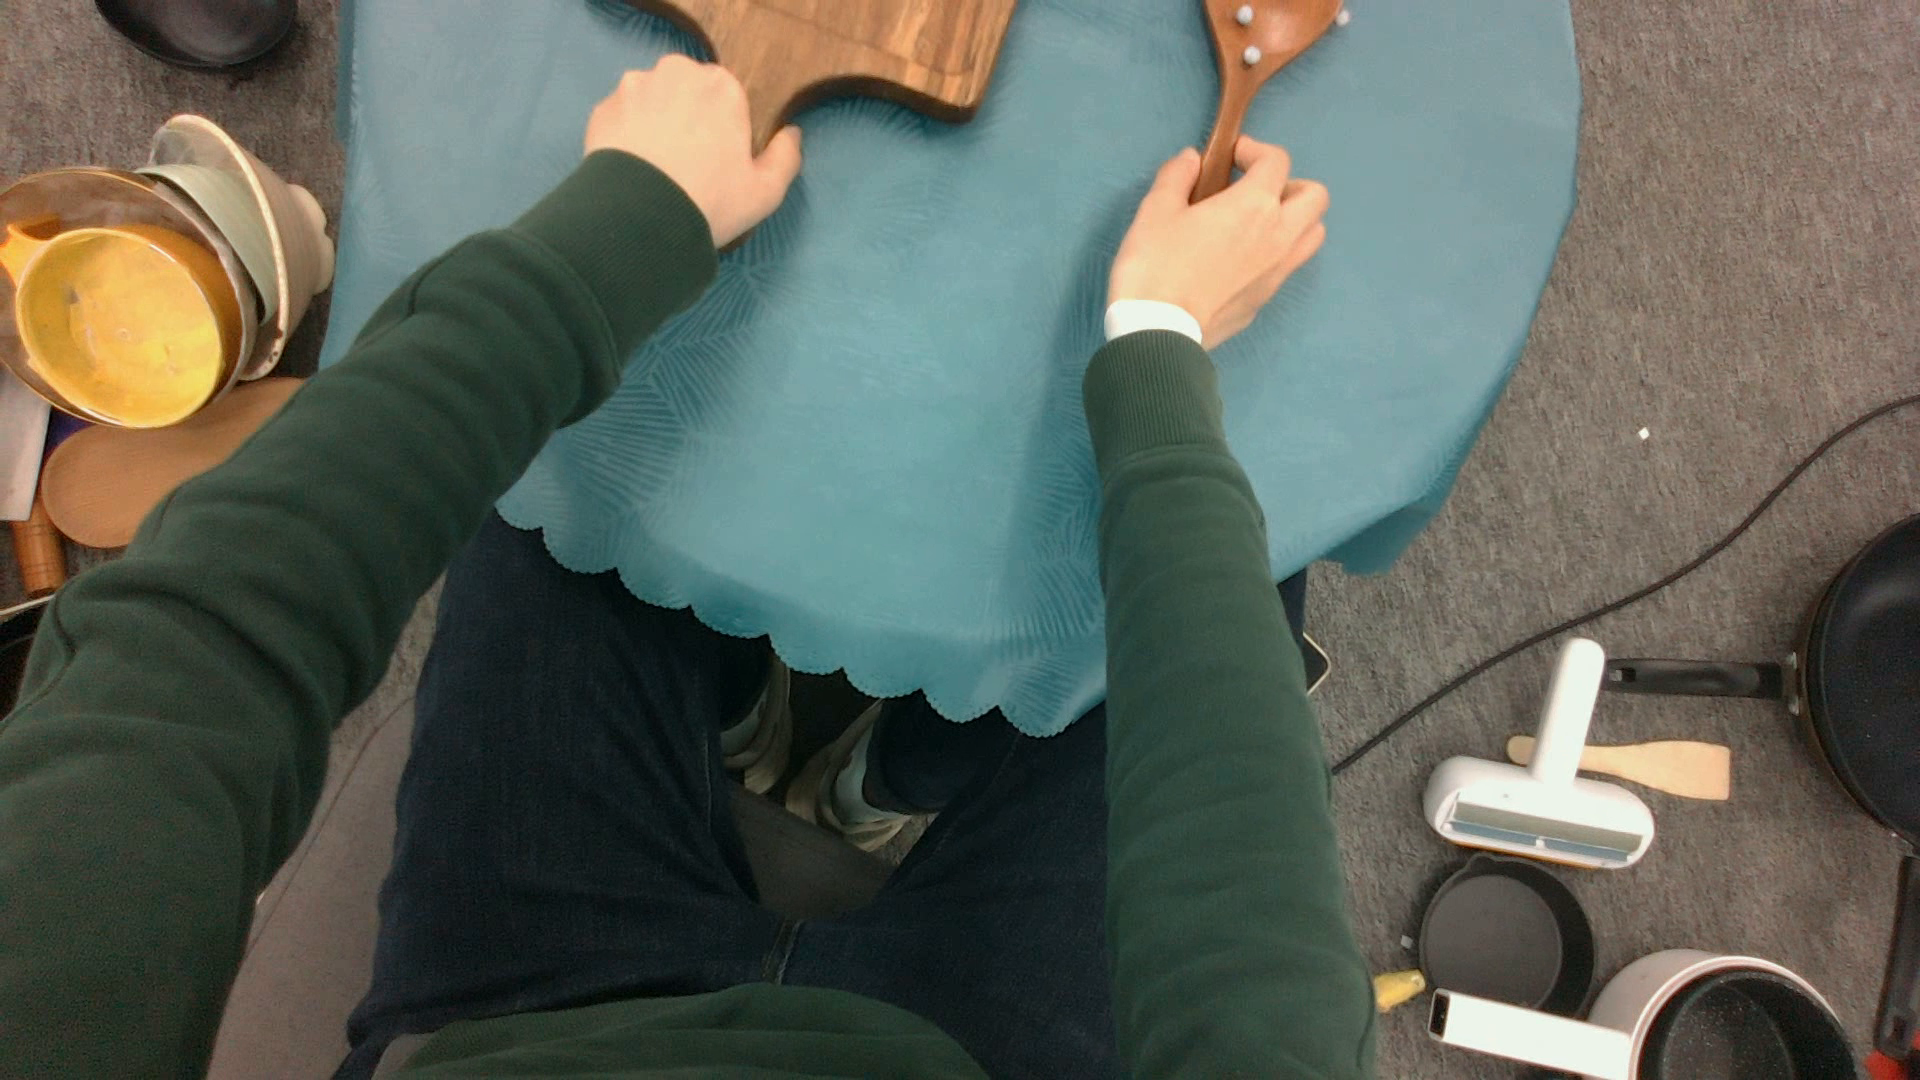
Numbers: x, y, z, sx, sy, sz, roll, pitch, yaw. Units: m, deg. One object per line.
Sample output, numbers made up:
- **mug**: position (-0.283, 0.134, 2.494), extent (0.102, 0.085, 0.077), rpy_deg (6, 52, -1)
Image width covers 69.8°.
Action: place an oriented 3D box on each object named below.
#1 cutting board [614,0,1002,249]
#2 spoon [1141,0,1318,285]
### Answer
- **cutting board**: position (-0.071, -0.300, 0.654), extent (0.201, 0.023, 0.353), rpy_deg (19, 78, -6)
- **spoon**: position (0.126, -0.223, 0.672), extent (0.075, 0.017, 0.216), rpy_deg (18, 78, -7)
